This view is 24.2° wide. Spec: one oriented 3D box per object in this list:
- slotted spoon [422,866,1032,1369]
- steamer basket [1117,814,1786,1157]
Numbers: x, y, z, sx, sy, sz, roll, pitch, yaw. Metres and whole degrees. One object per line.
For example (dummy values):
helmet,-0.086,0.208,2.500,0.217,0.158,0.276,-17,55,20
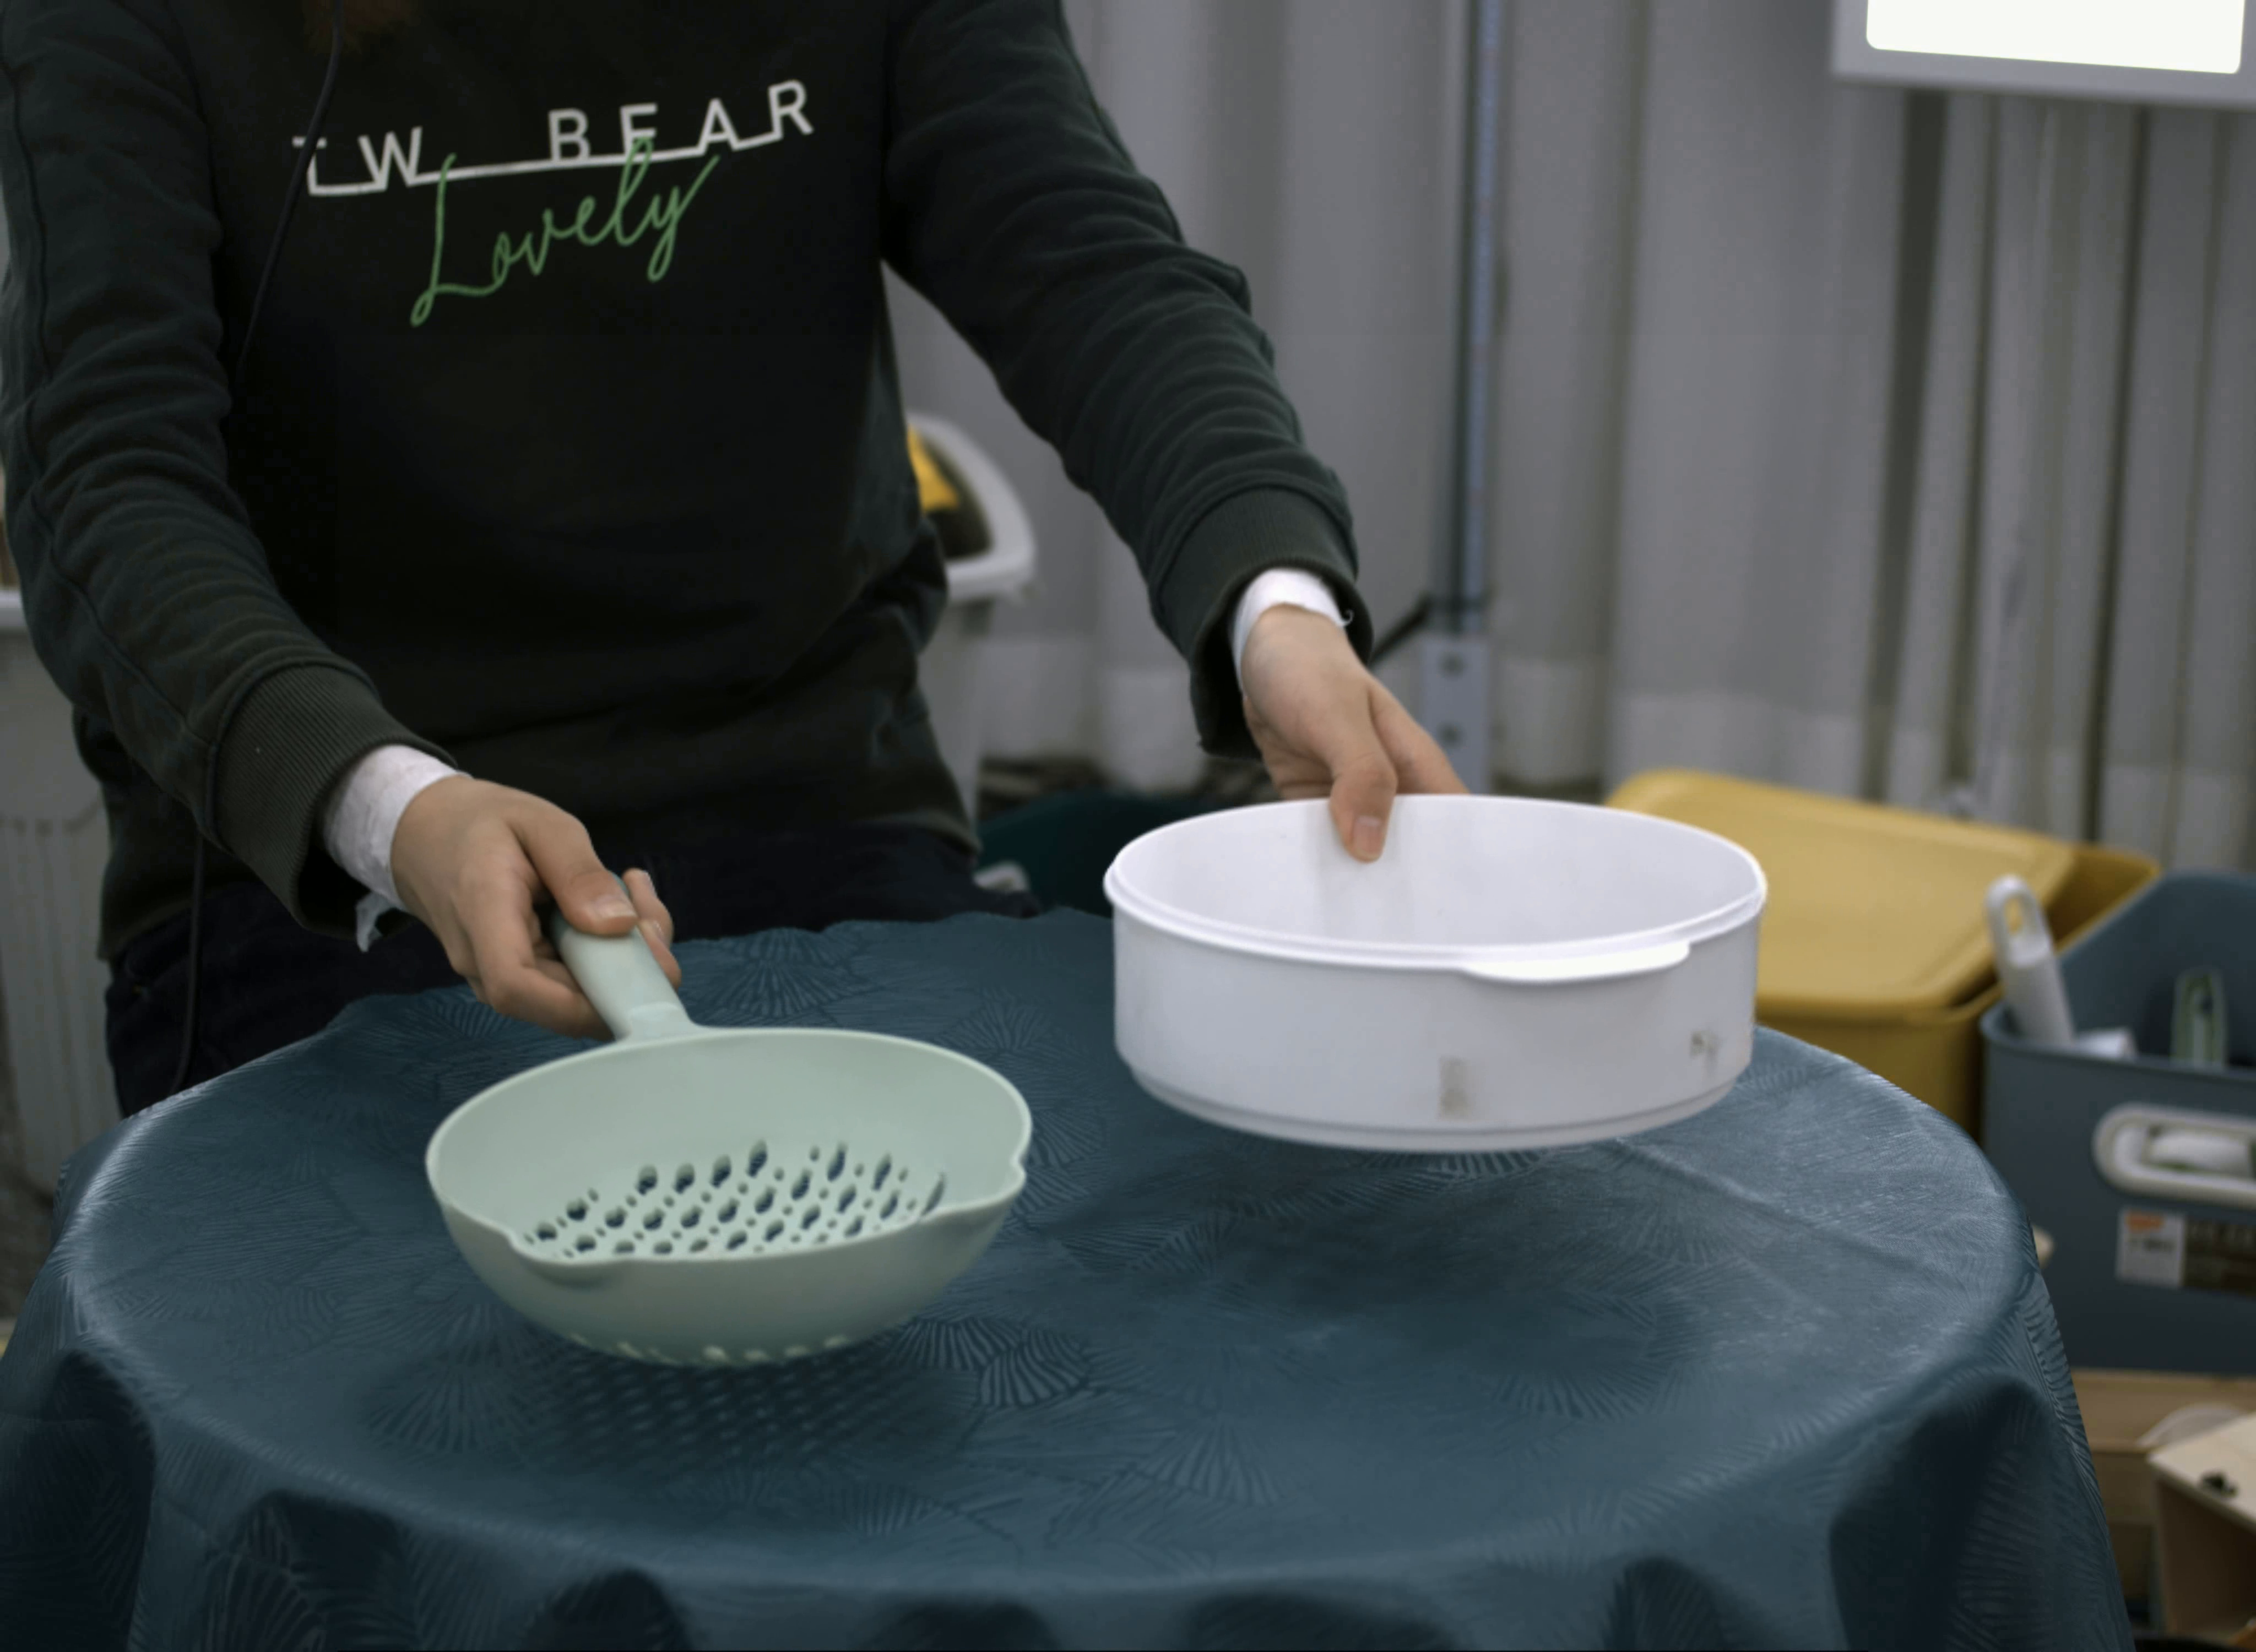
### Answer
slotted spoon,-0.137,0.069,1.551,0.169,0.076,0.354,-7,27,-15
steamer basket,0.096,0.047,1.588,0.202,0.070,0.228,-3,13,-23
